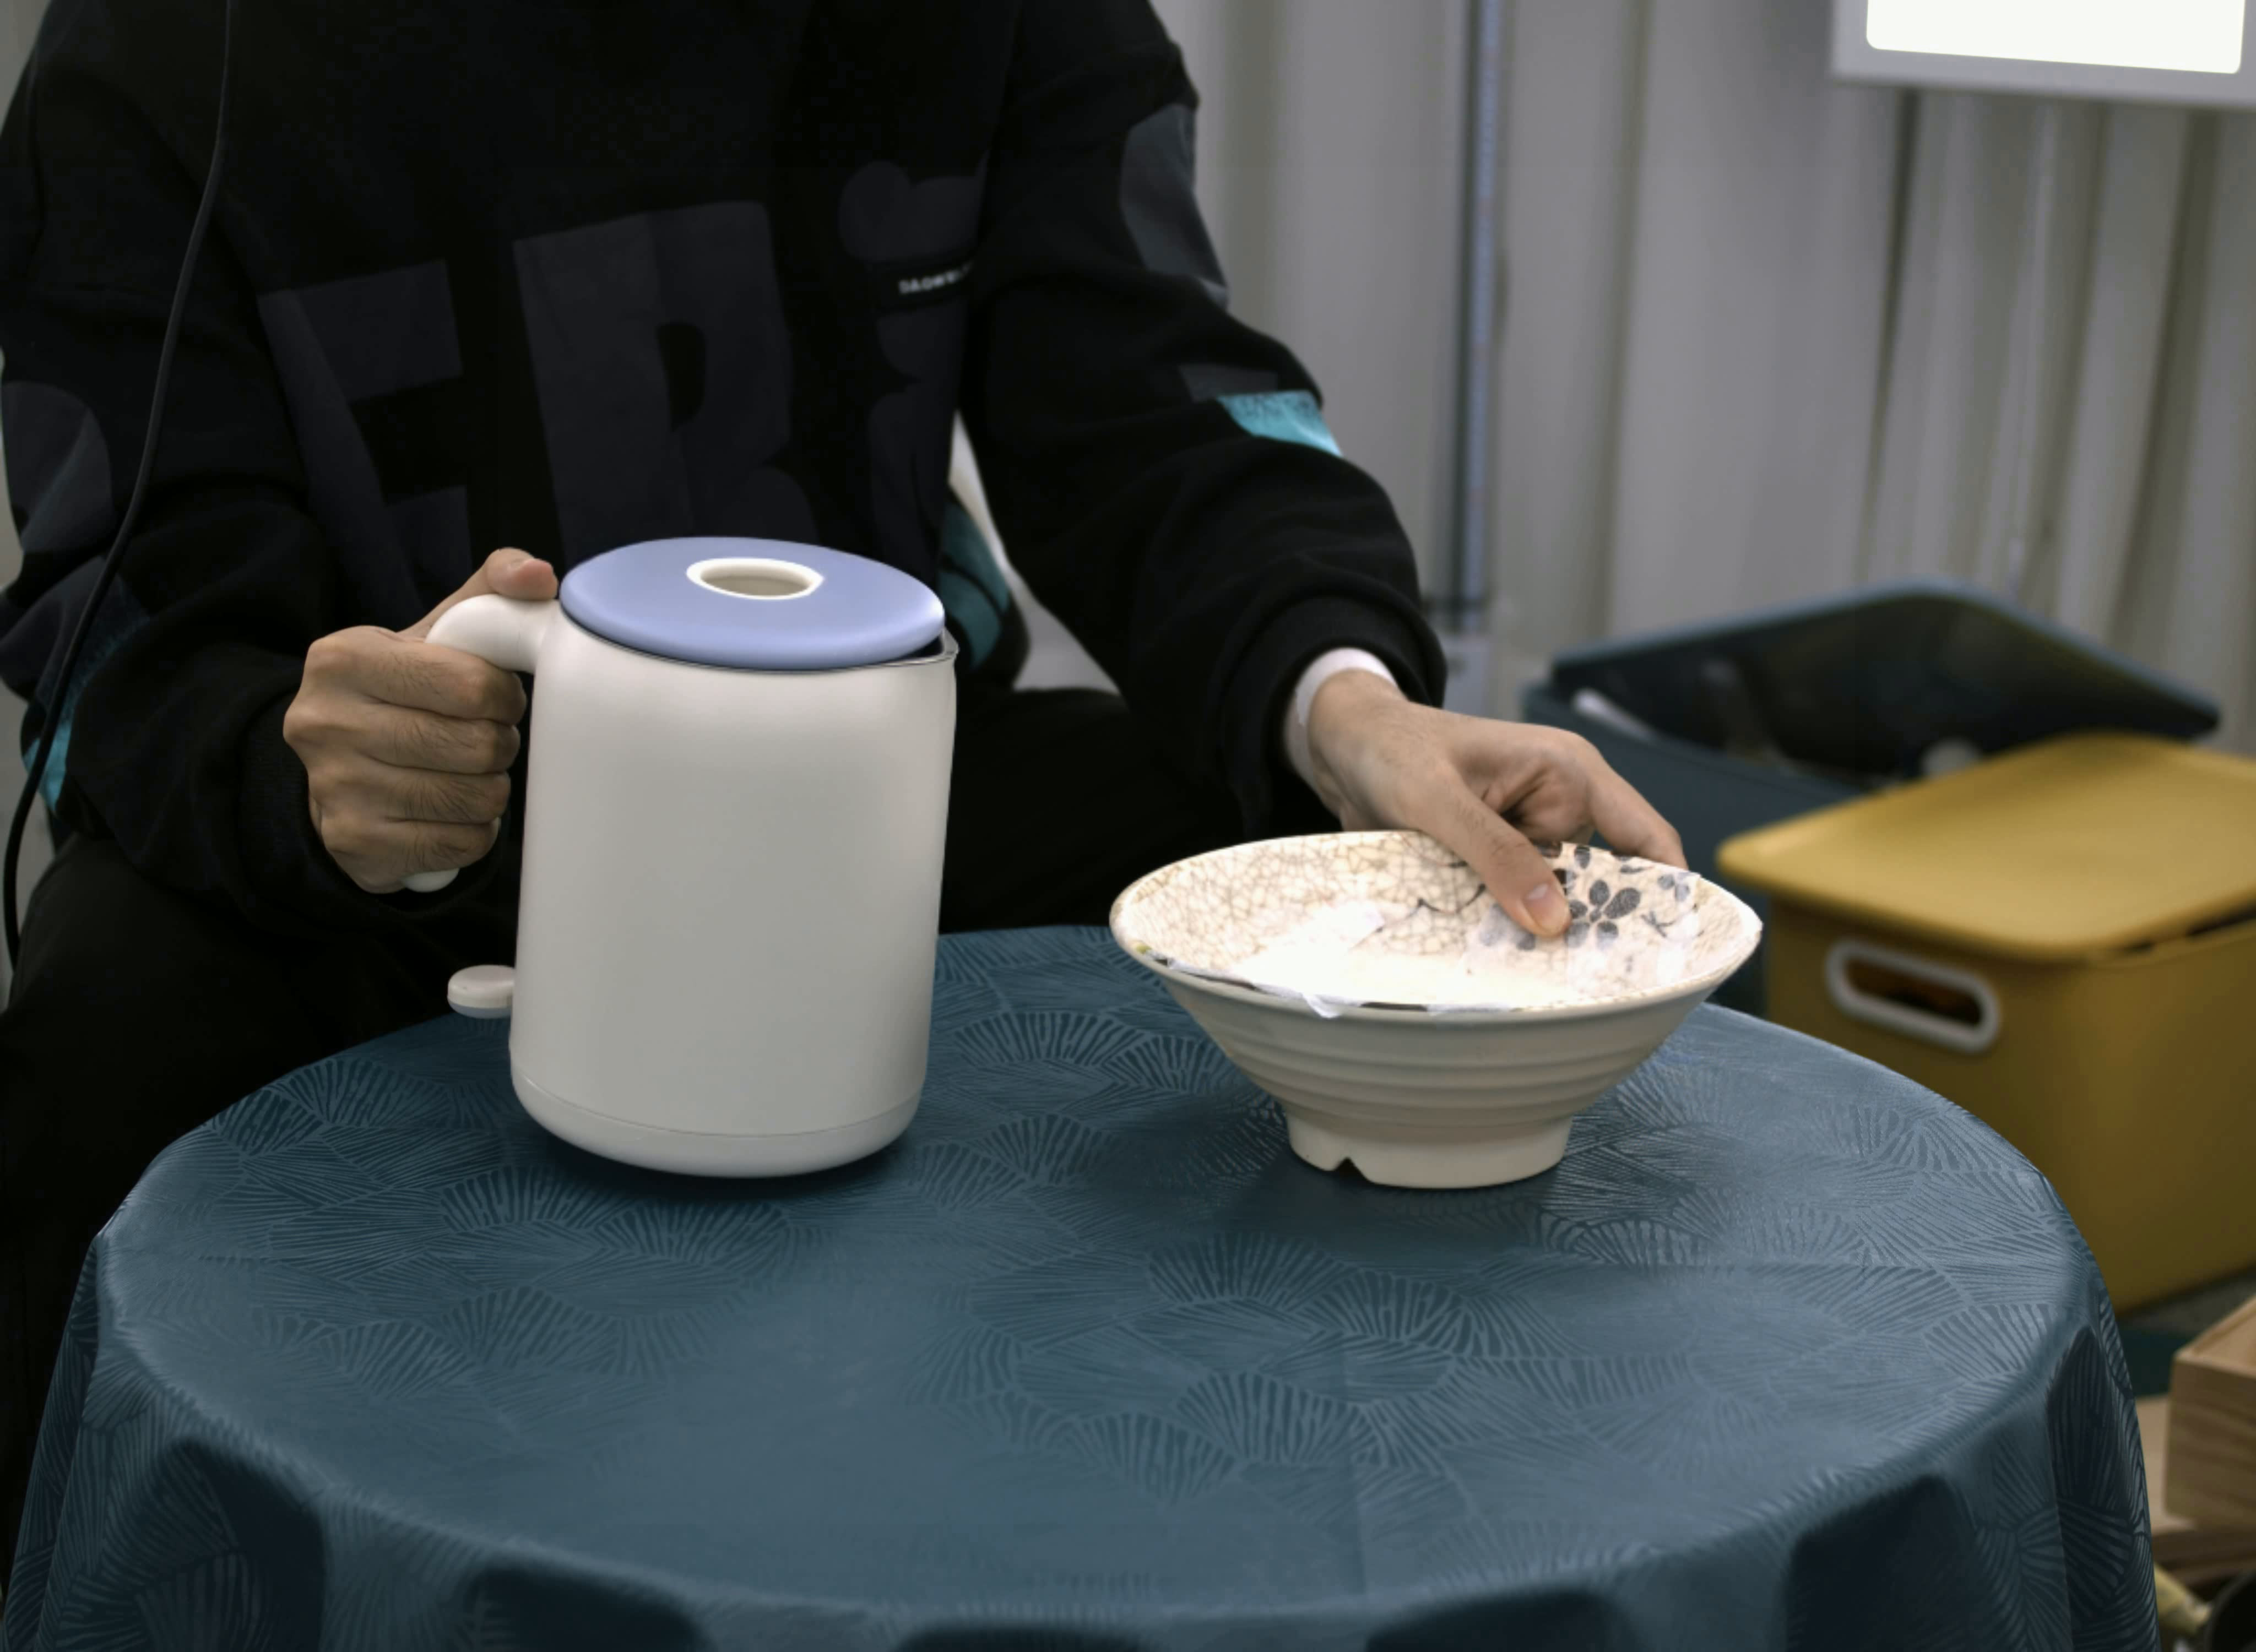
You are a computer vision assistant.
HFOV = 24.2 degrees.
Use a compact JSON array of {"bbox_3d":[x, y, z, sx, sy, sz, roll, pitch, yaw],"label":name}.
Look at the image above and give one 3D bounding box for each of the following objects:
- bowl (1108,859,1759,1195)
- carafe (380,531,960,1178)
[{"bbox_3d":[0.094,0.067,1.648,0.203,0.078,0.203,1,11,0],"label":"bowl"},{"bbox_3d":[-0.145,0.004,1.635,0.189,0.184,0.132,9,18,18],"label":"carafe"}]
